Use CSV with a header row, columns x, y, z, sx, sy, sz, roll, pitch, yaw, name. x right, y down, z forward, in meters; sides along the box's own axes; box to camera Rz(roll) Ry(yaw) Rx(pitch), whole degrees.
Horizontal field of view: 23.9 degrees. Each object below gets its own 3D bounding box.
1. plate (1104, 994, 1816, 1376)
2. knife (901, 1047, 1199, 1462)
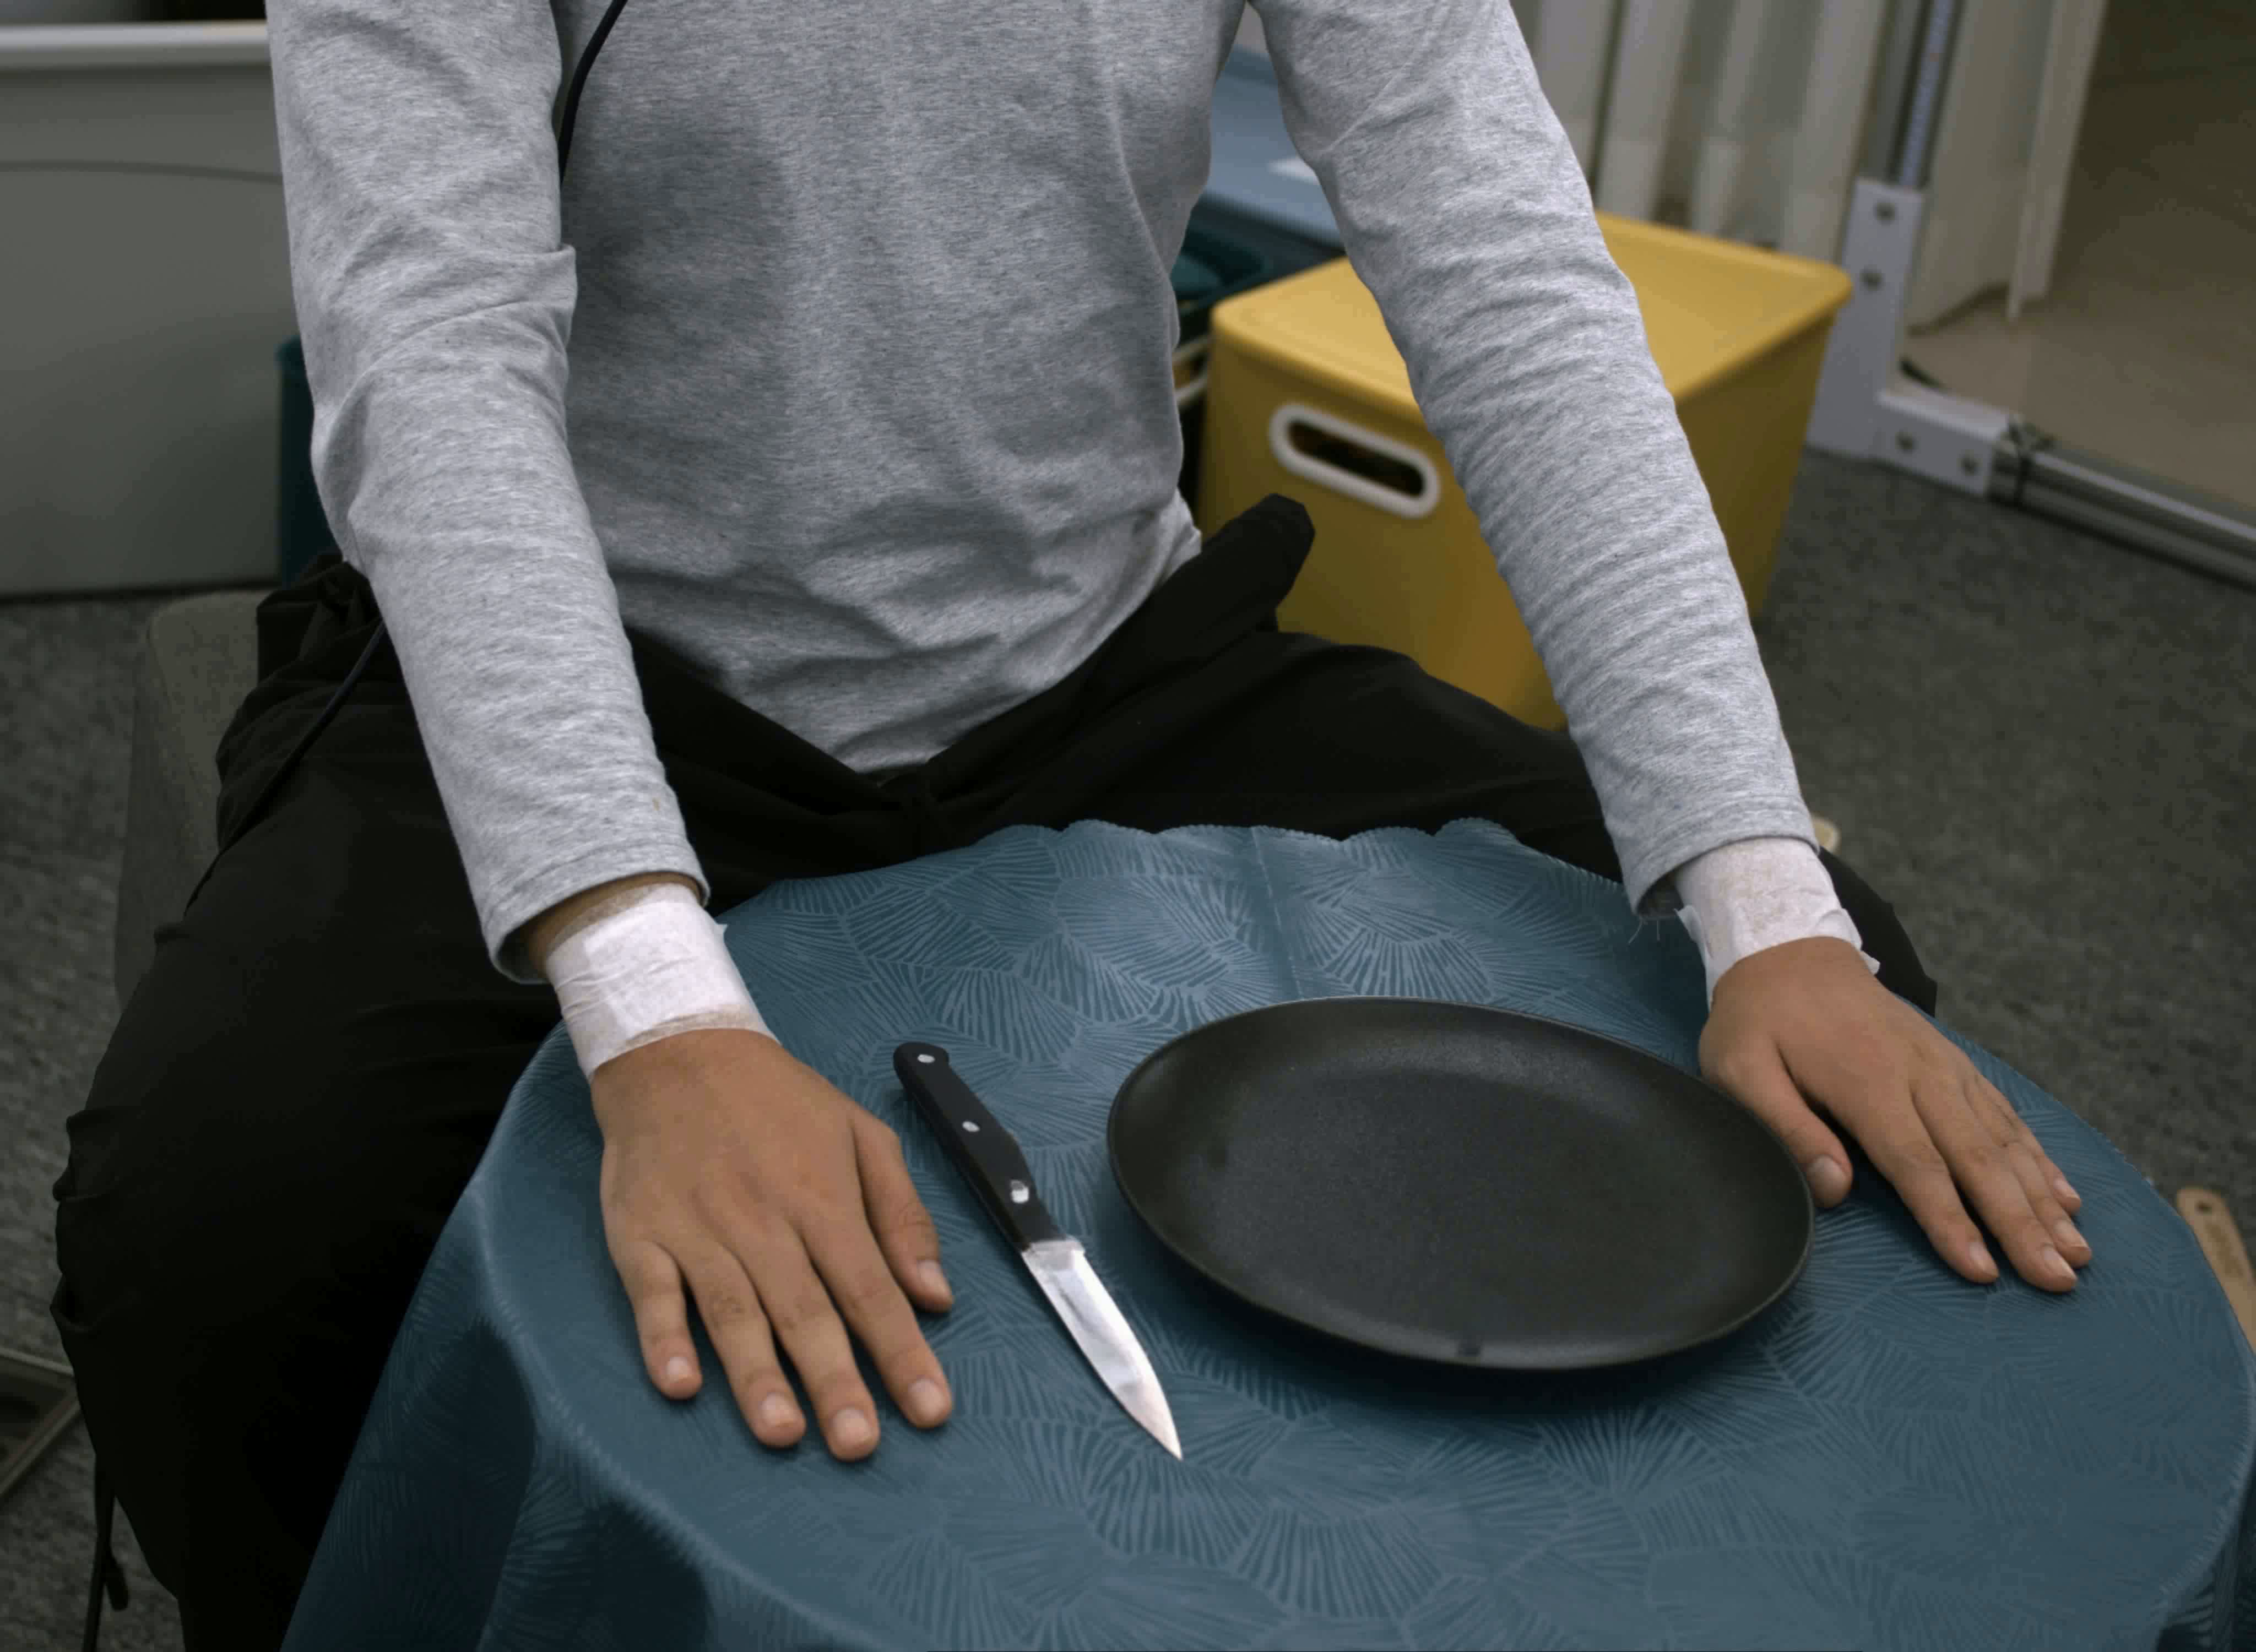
x,y,z,sx,sy,sz,roll,pitch,yaw,name
0.111,0.125,1.803,0.243,0.023,0.246,5,27,-3,plate
-0.028,0.140,1.755,0.024,0.016,0.240,-6,32,-23,knife
